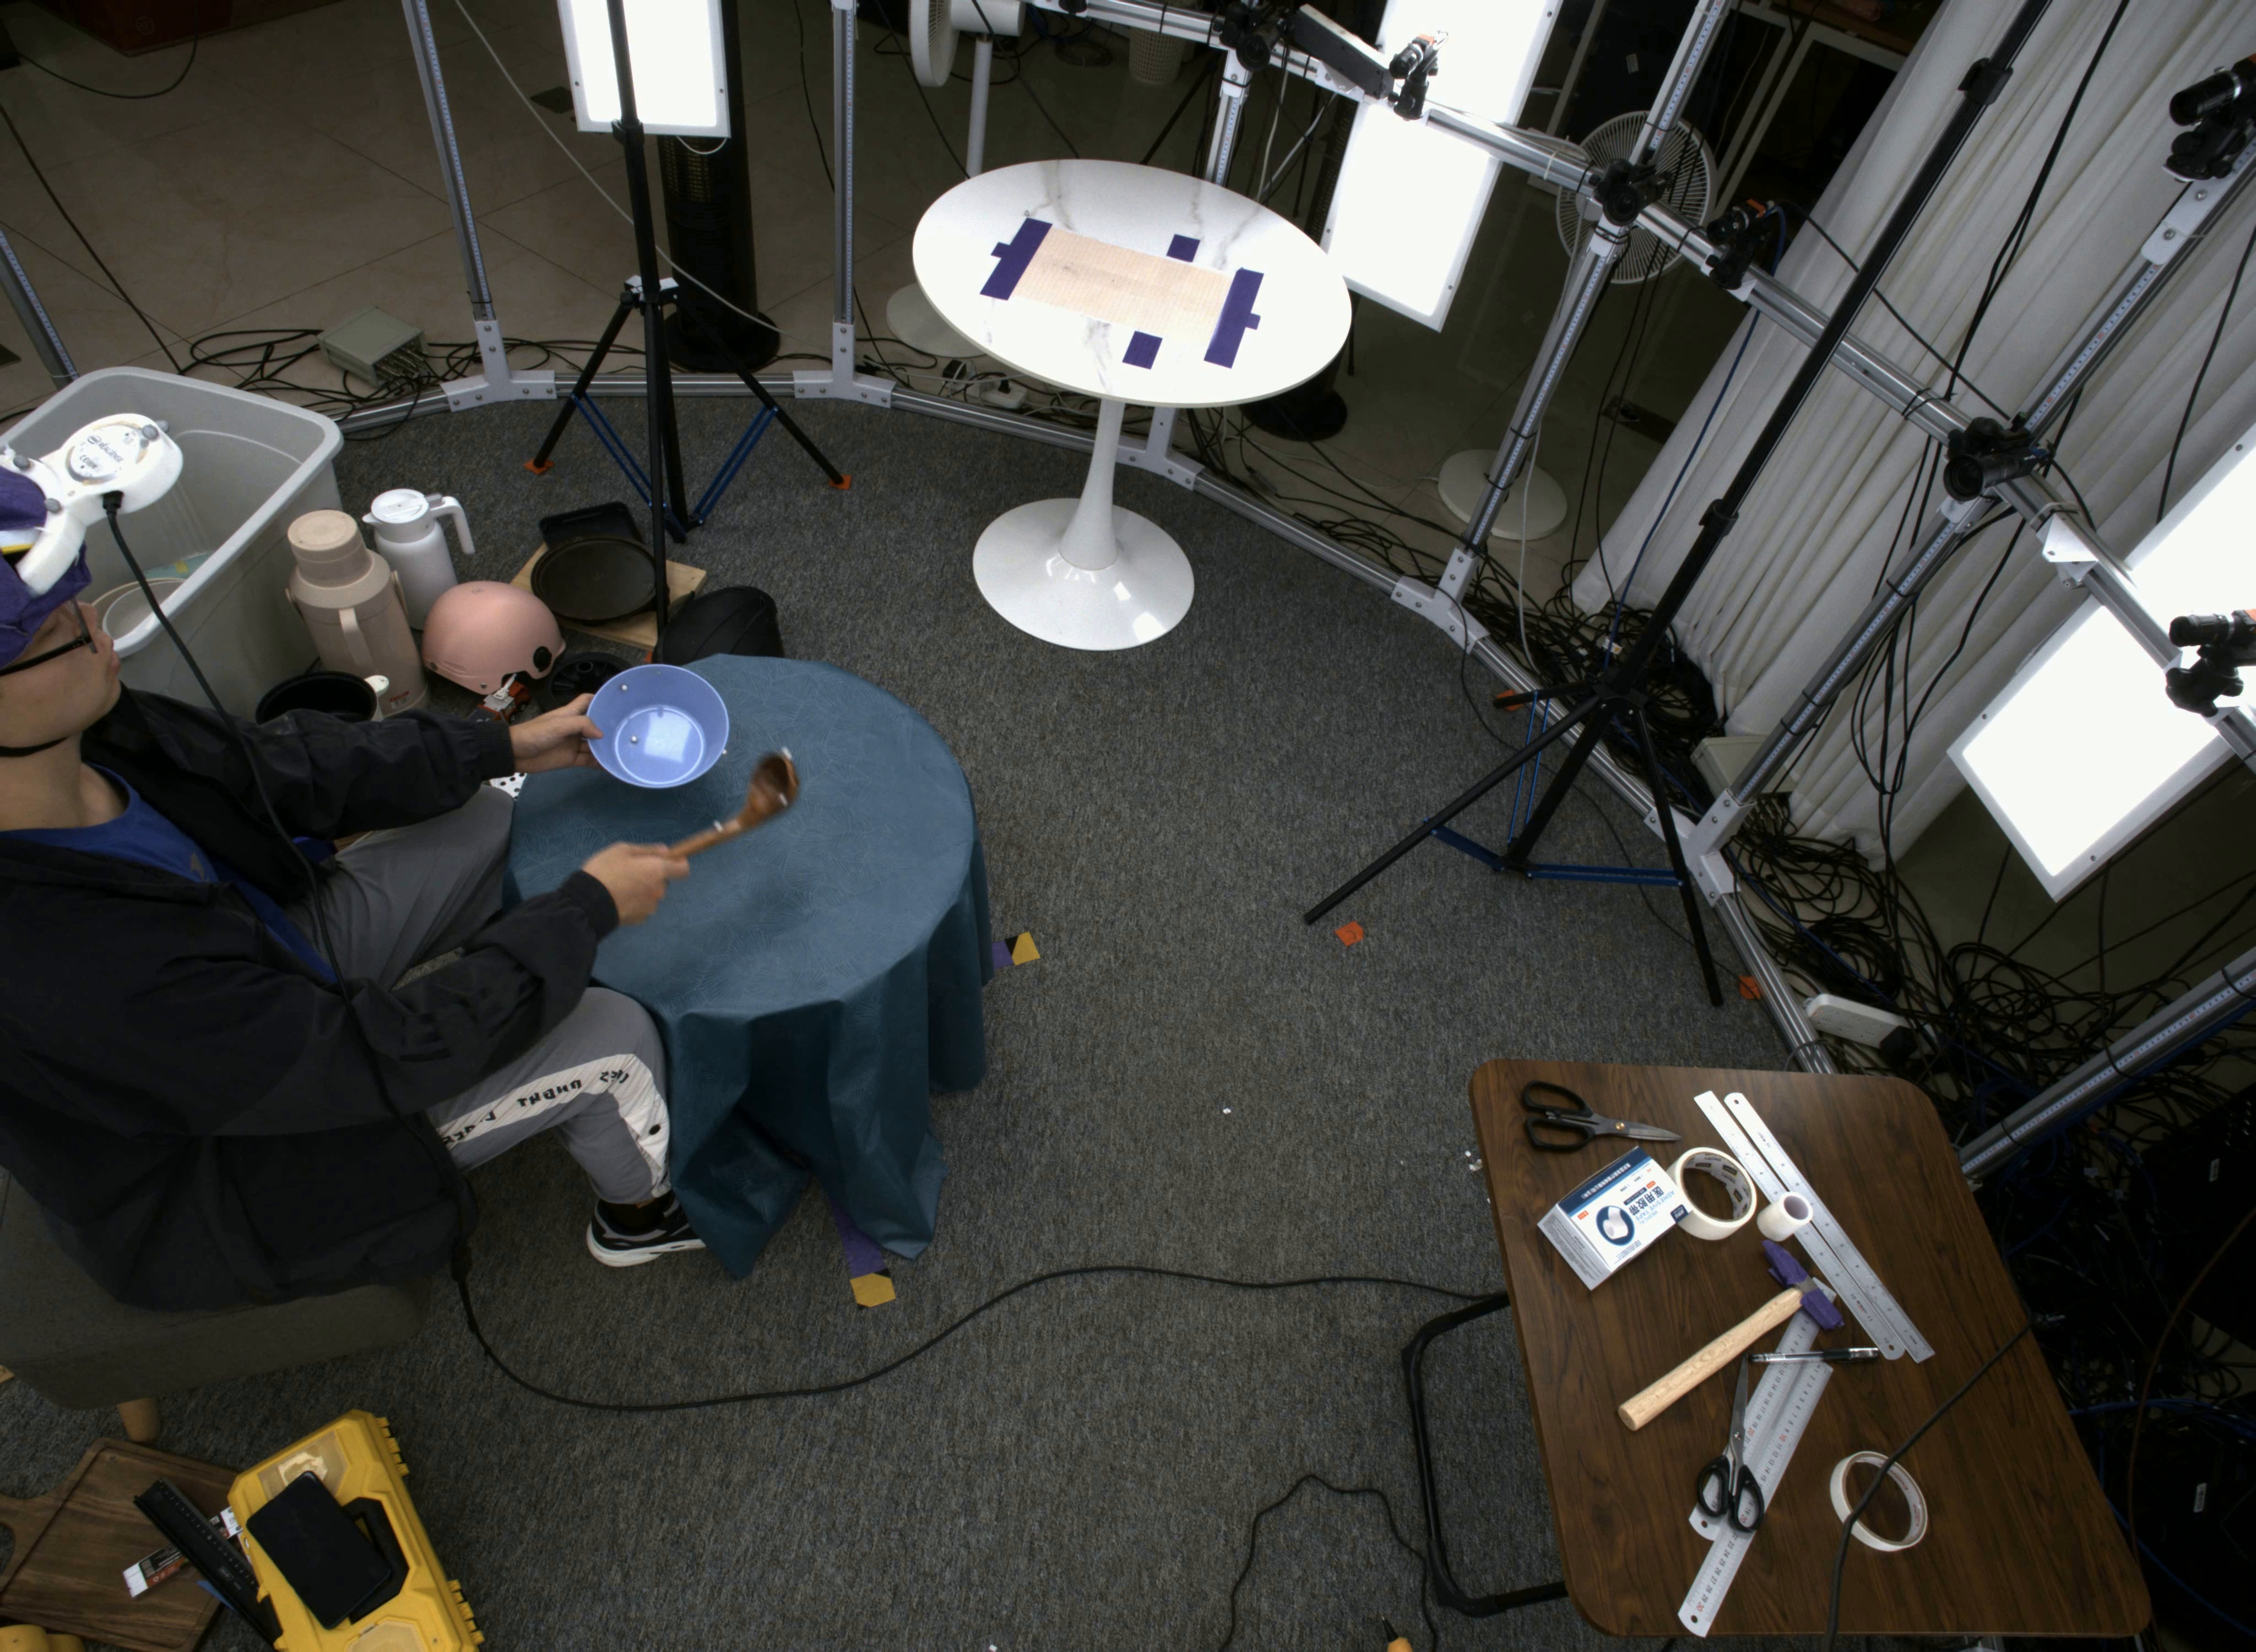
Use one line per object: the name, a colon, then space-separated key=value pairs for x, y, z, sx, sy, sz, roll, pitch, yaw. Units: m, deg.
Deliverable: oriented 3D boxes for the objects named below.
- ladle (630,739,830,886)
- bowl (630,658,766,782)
ladle: x=-0.474 y=-0.022 z=1.532 sx=0.275 sy=0.079 sz=0.079 roll=-29 pitch=34 yaw=-34
bowl: x=-0.563 y=-0.127 z=1.687 sx=0.177 sy=0.070 sz=0.175 roll=7 pitch=68 yaw=-15
